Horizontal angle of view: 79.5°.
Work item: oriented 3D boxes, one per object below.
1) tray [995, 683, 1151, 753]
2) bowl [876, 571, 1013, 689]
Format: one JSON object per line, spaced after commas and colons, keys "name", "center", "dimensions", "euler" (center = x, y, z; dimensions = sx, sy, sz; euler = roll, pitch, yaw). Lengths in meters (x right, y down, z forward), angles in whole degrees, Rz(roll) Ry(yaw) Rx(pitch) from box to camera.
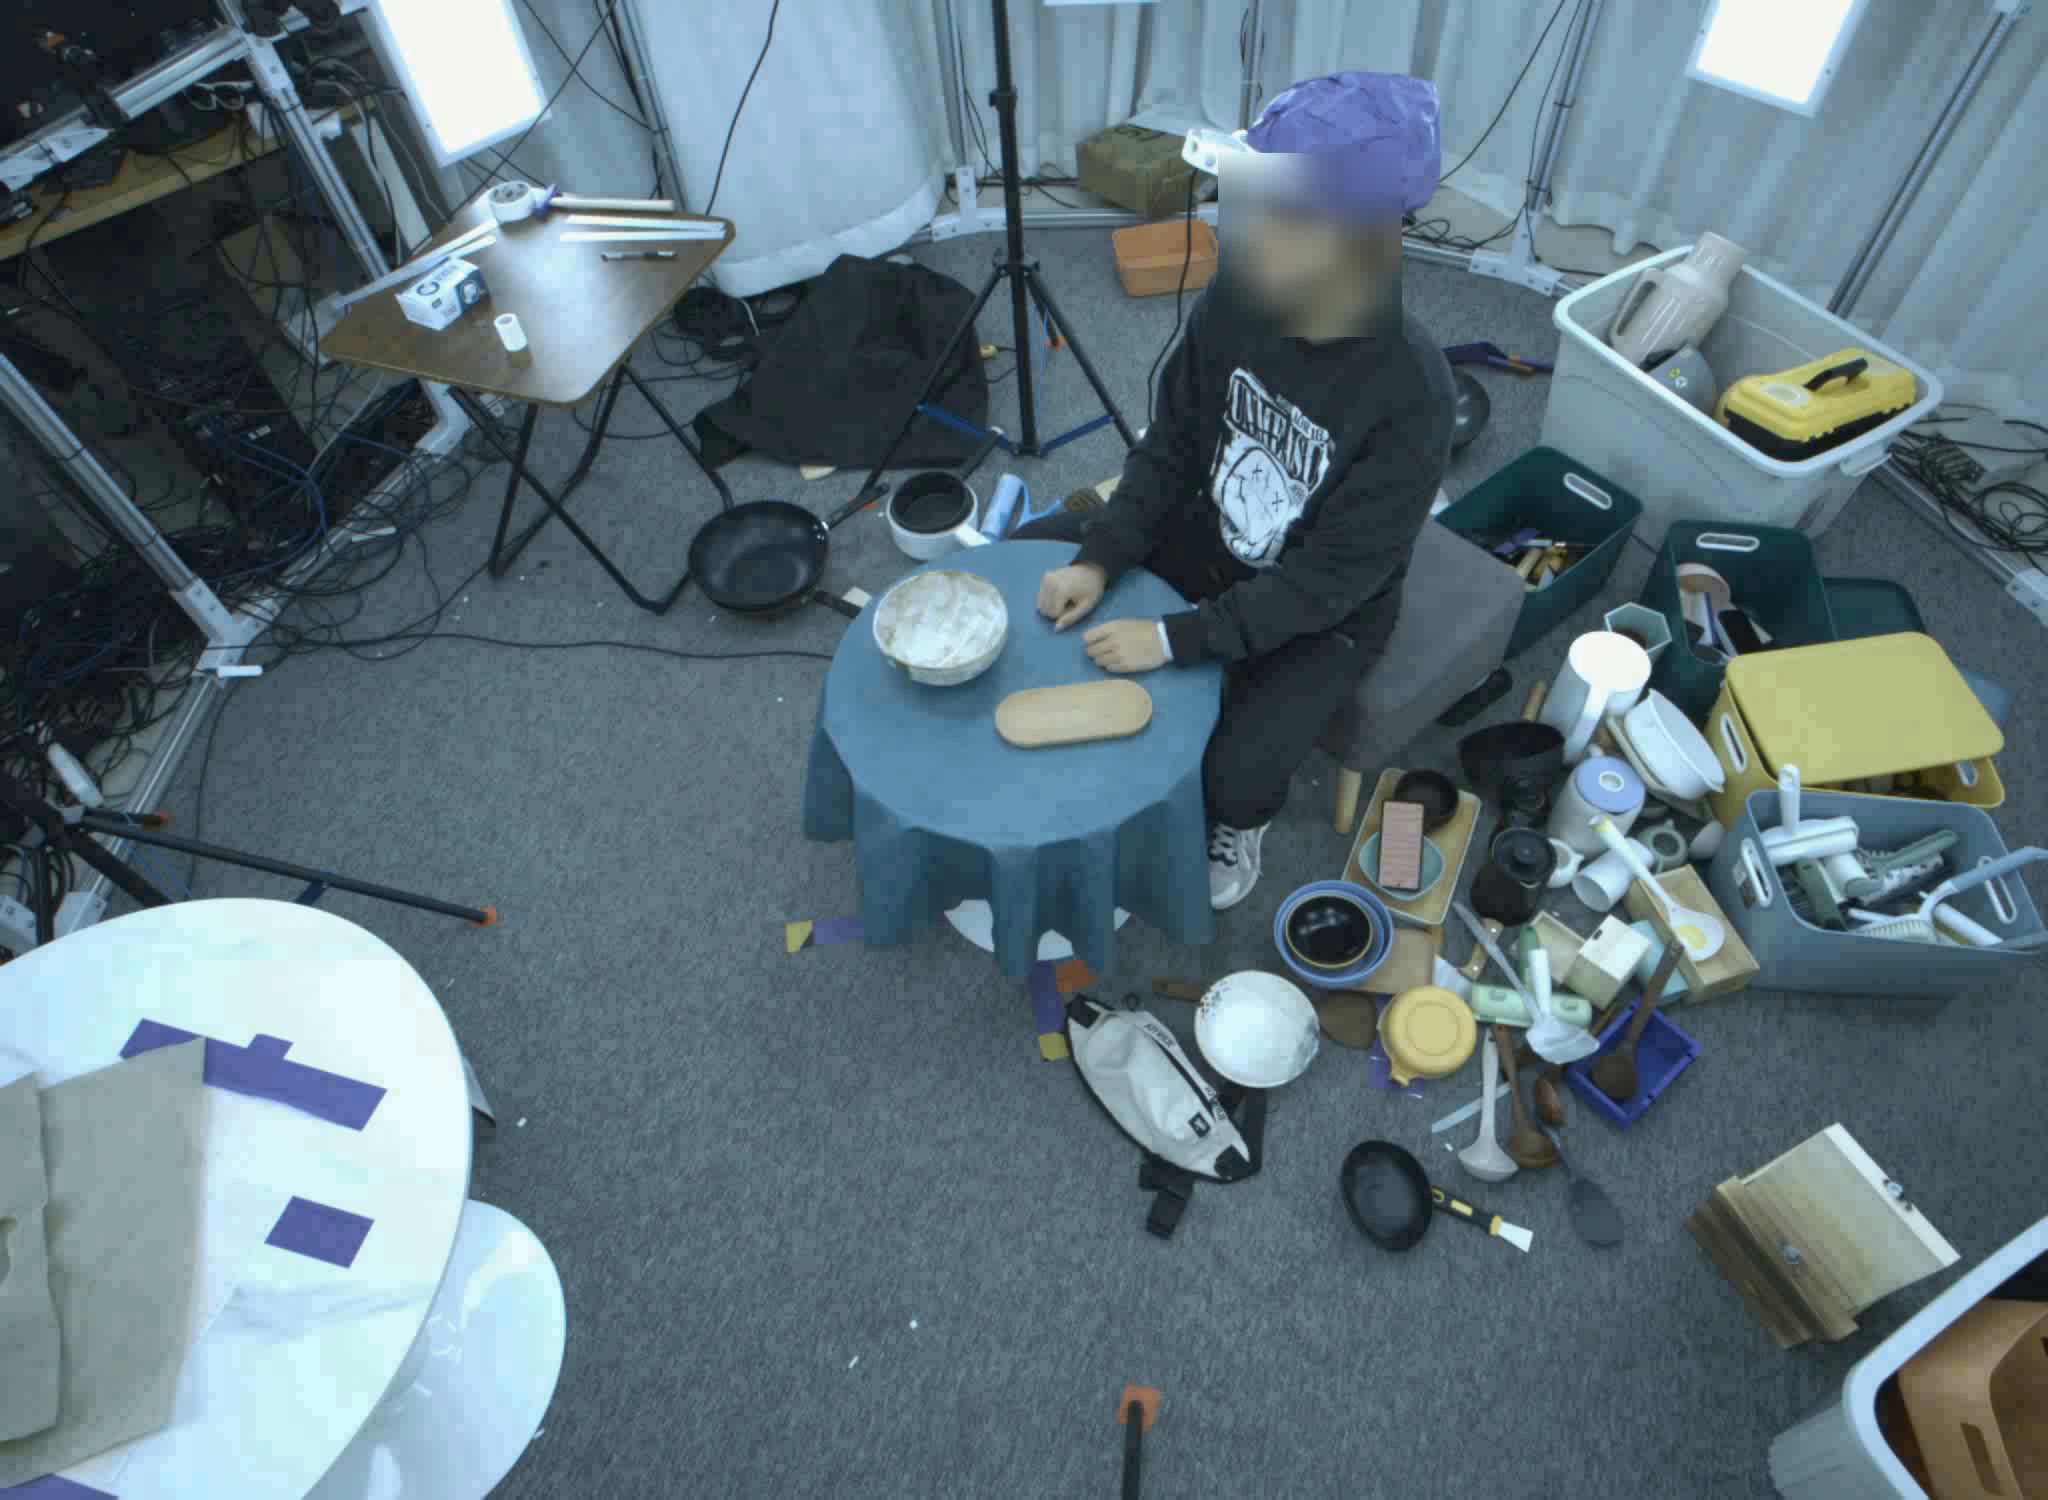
{"name": "tray", "center": [0.073, -0.047, 1.820], "dimensions": [0.231, 0.020, 0.100], "euler": [-9, 53, -2]}
{"name": "bowl", "center": [-0.115, -0.164, 1.858], "dimensions": [0.214, 0.095, 0.212], "euler": [-1, 54, 2]}
